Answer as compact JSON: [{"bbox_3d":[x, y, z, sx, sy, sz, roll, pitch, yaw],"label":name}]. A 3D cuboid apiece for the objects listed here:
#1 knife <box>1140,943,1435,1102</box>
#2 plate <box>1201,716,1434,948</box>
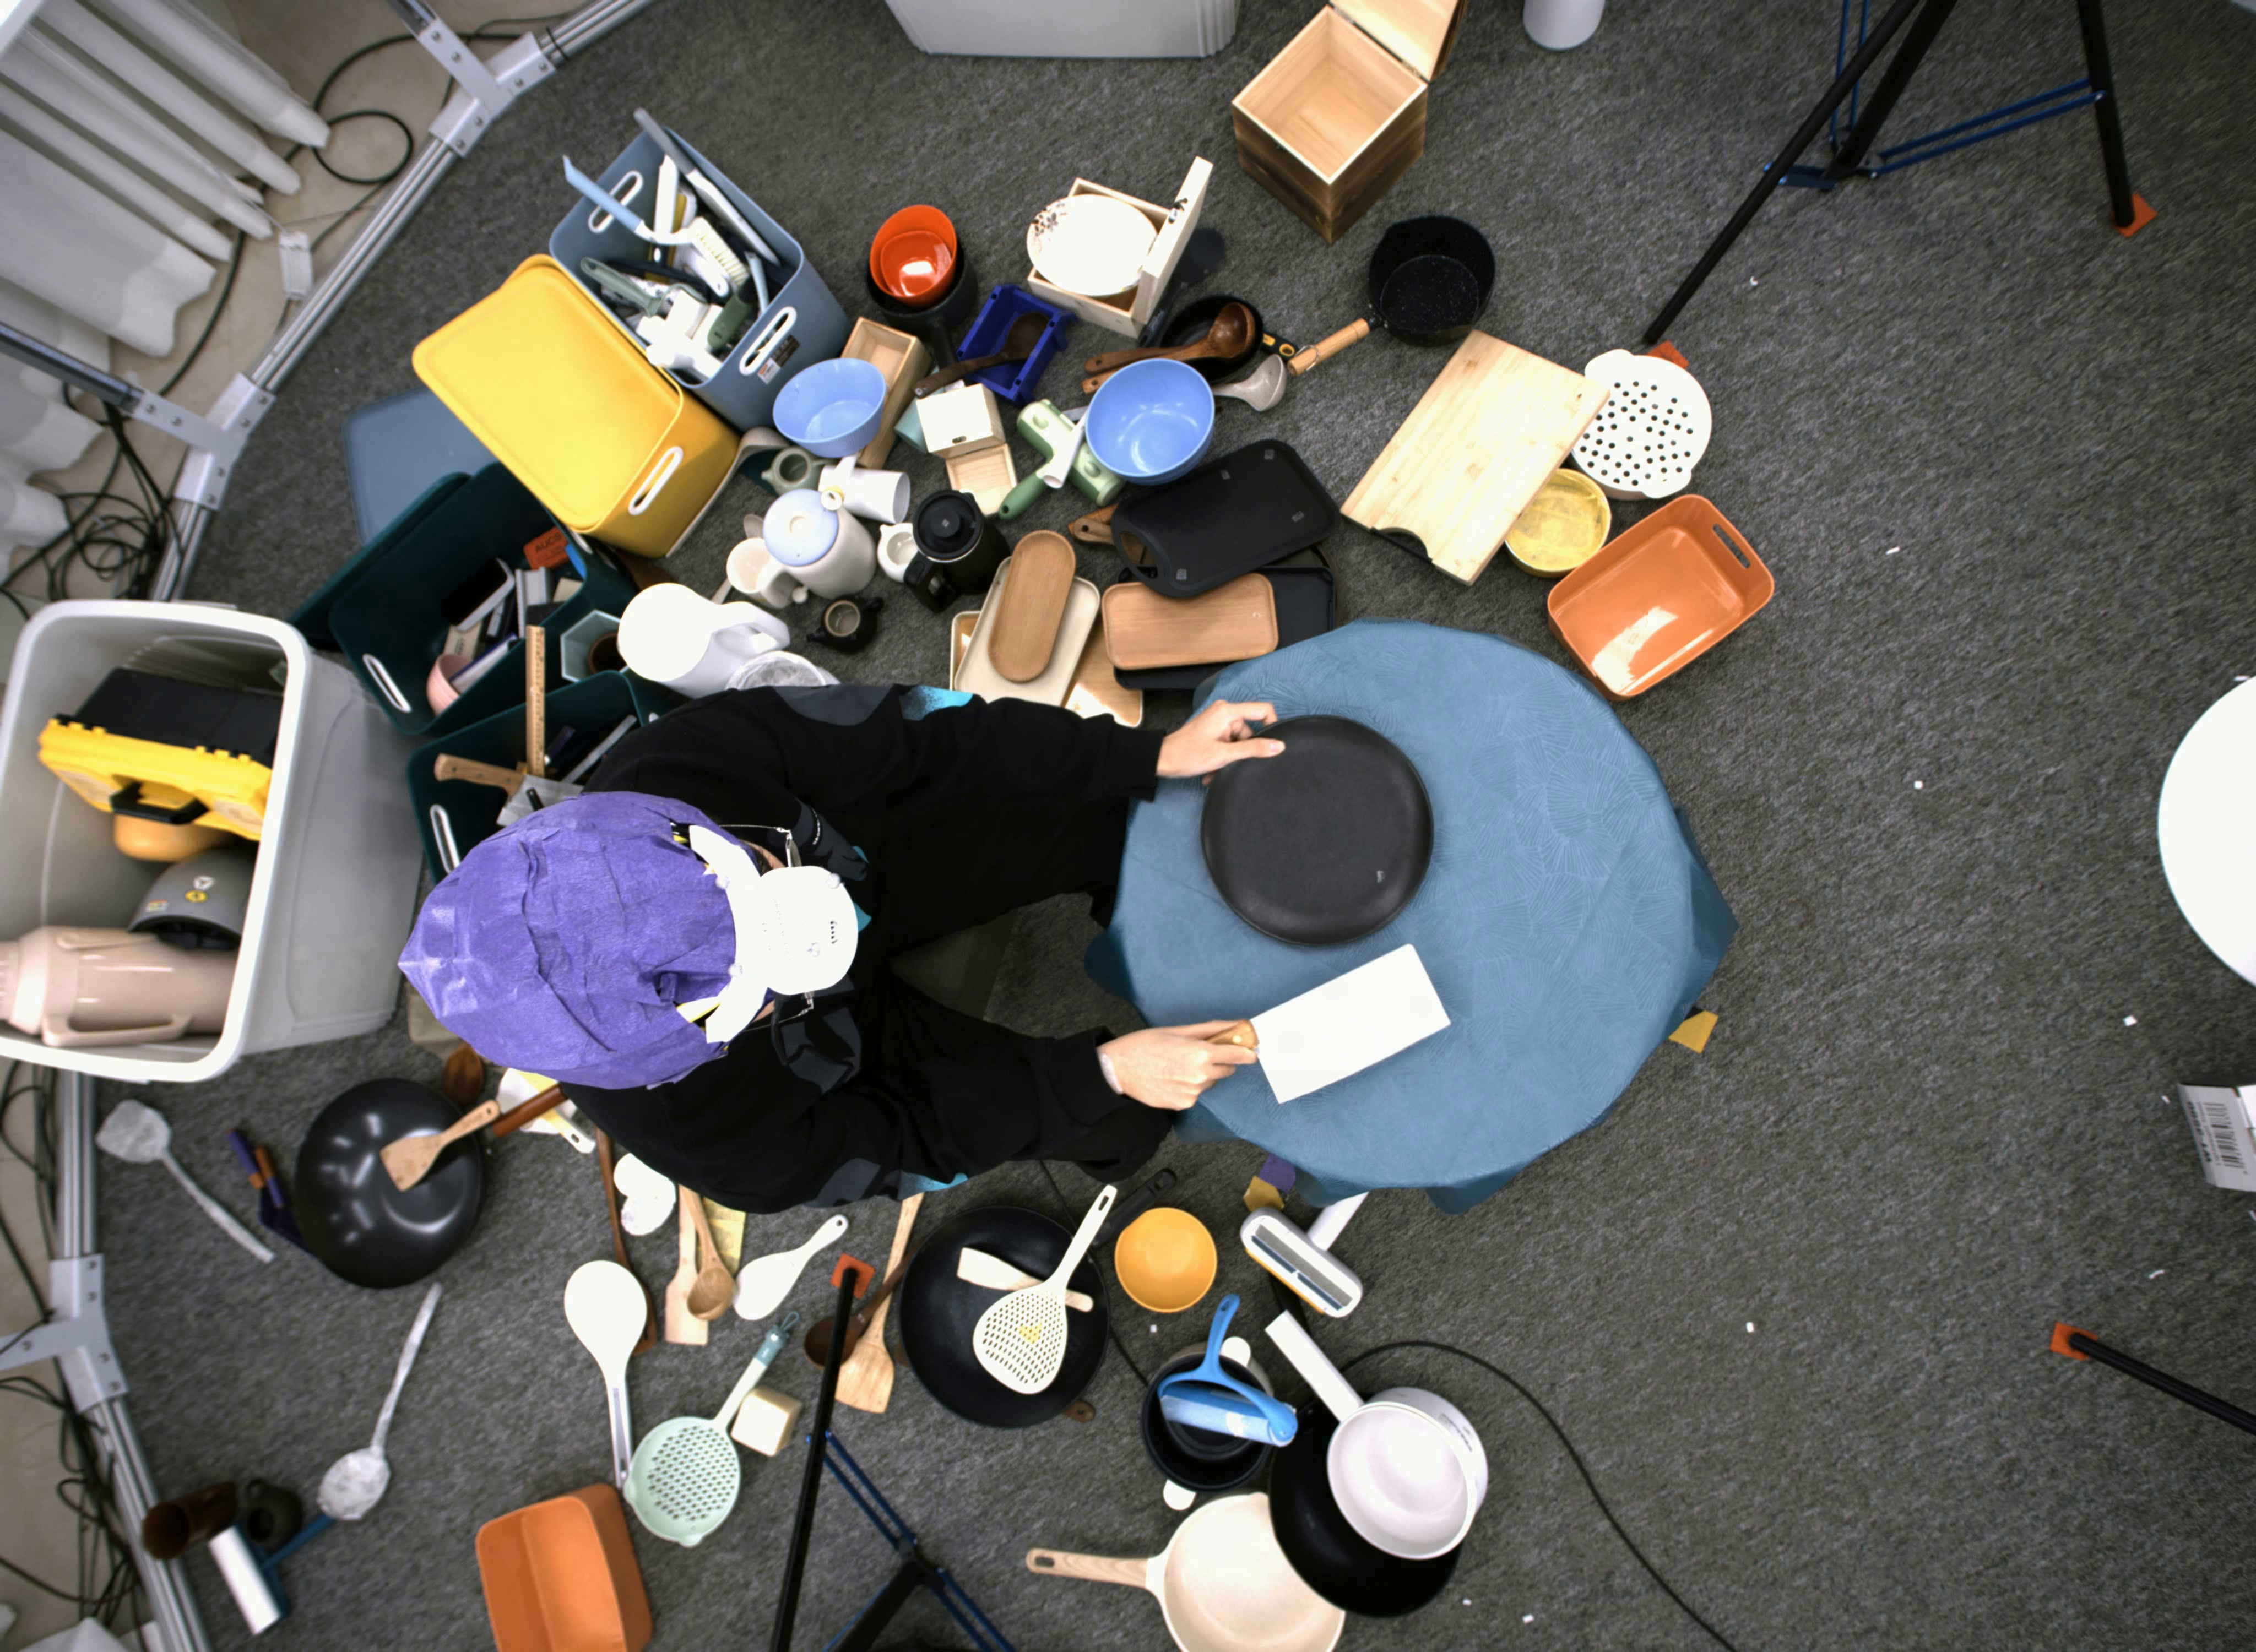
[{"bbox_3d":[0.165,0.221,1.406,0.307,0.021,0.092,-27,85,5],"label":"knife"},{"bbox_3d":[0.198,0.006,1.453,0.245,0.023,0.245,0,94,8],"label":"plate"}]
